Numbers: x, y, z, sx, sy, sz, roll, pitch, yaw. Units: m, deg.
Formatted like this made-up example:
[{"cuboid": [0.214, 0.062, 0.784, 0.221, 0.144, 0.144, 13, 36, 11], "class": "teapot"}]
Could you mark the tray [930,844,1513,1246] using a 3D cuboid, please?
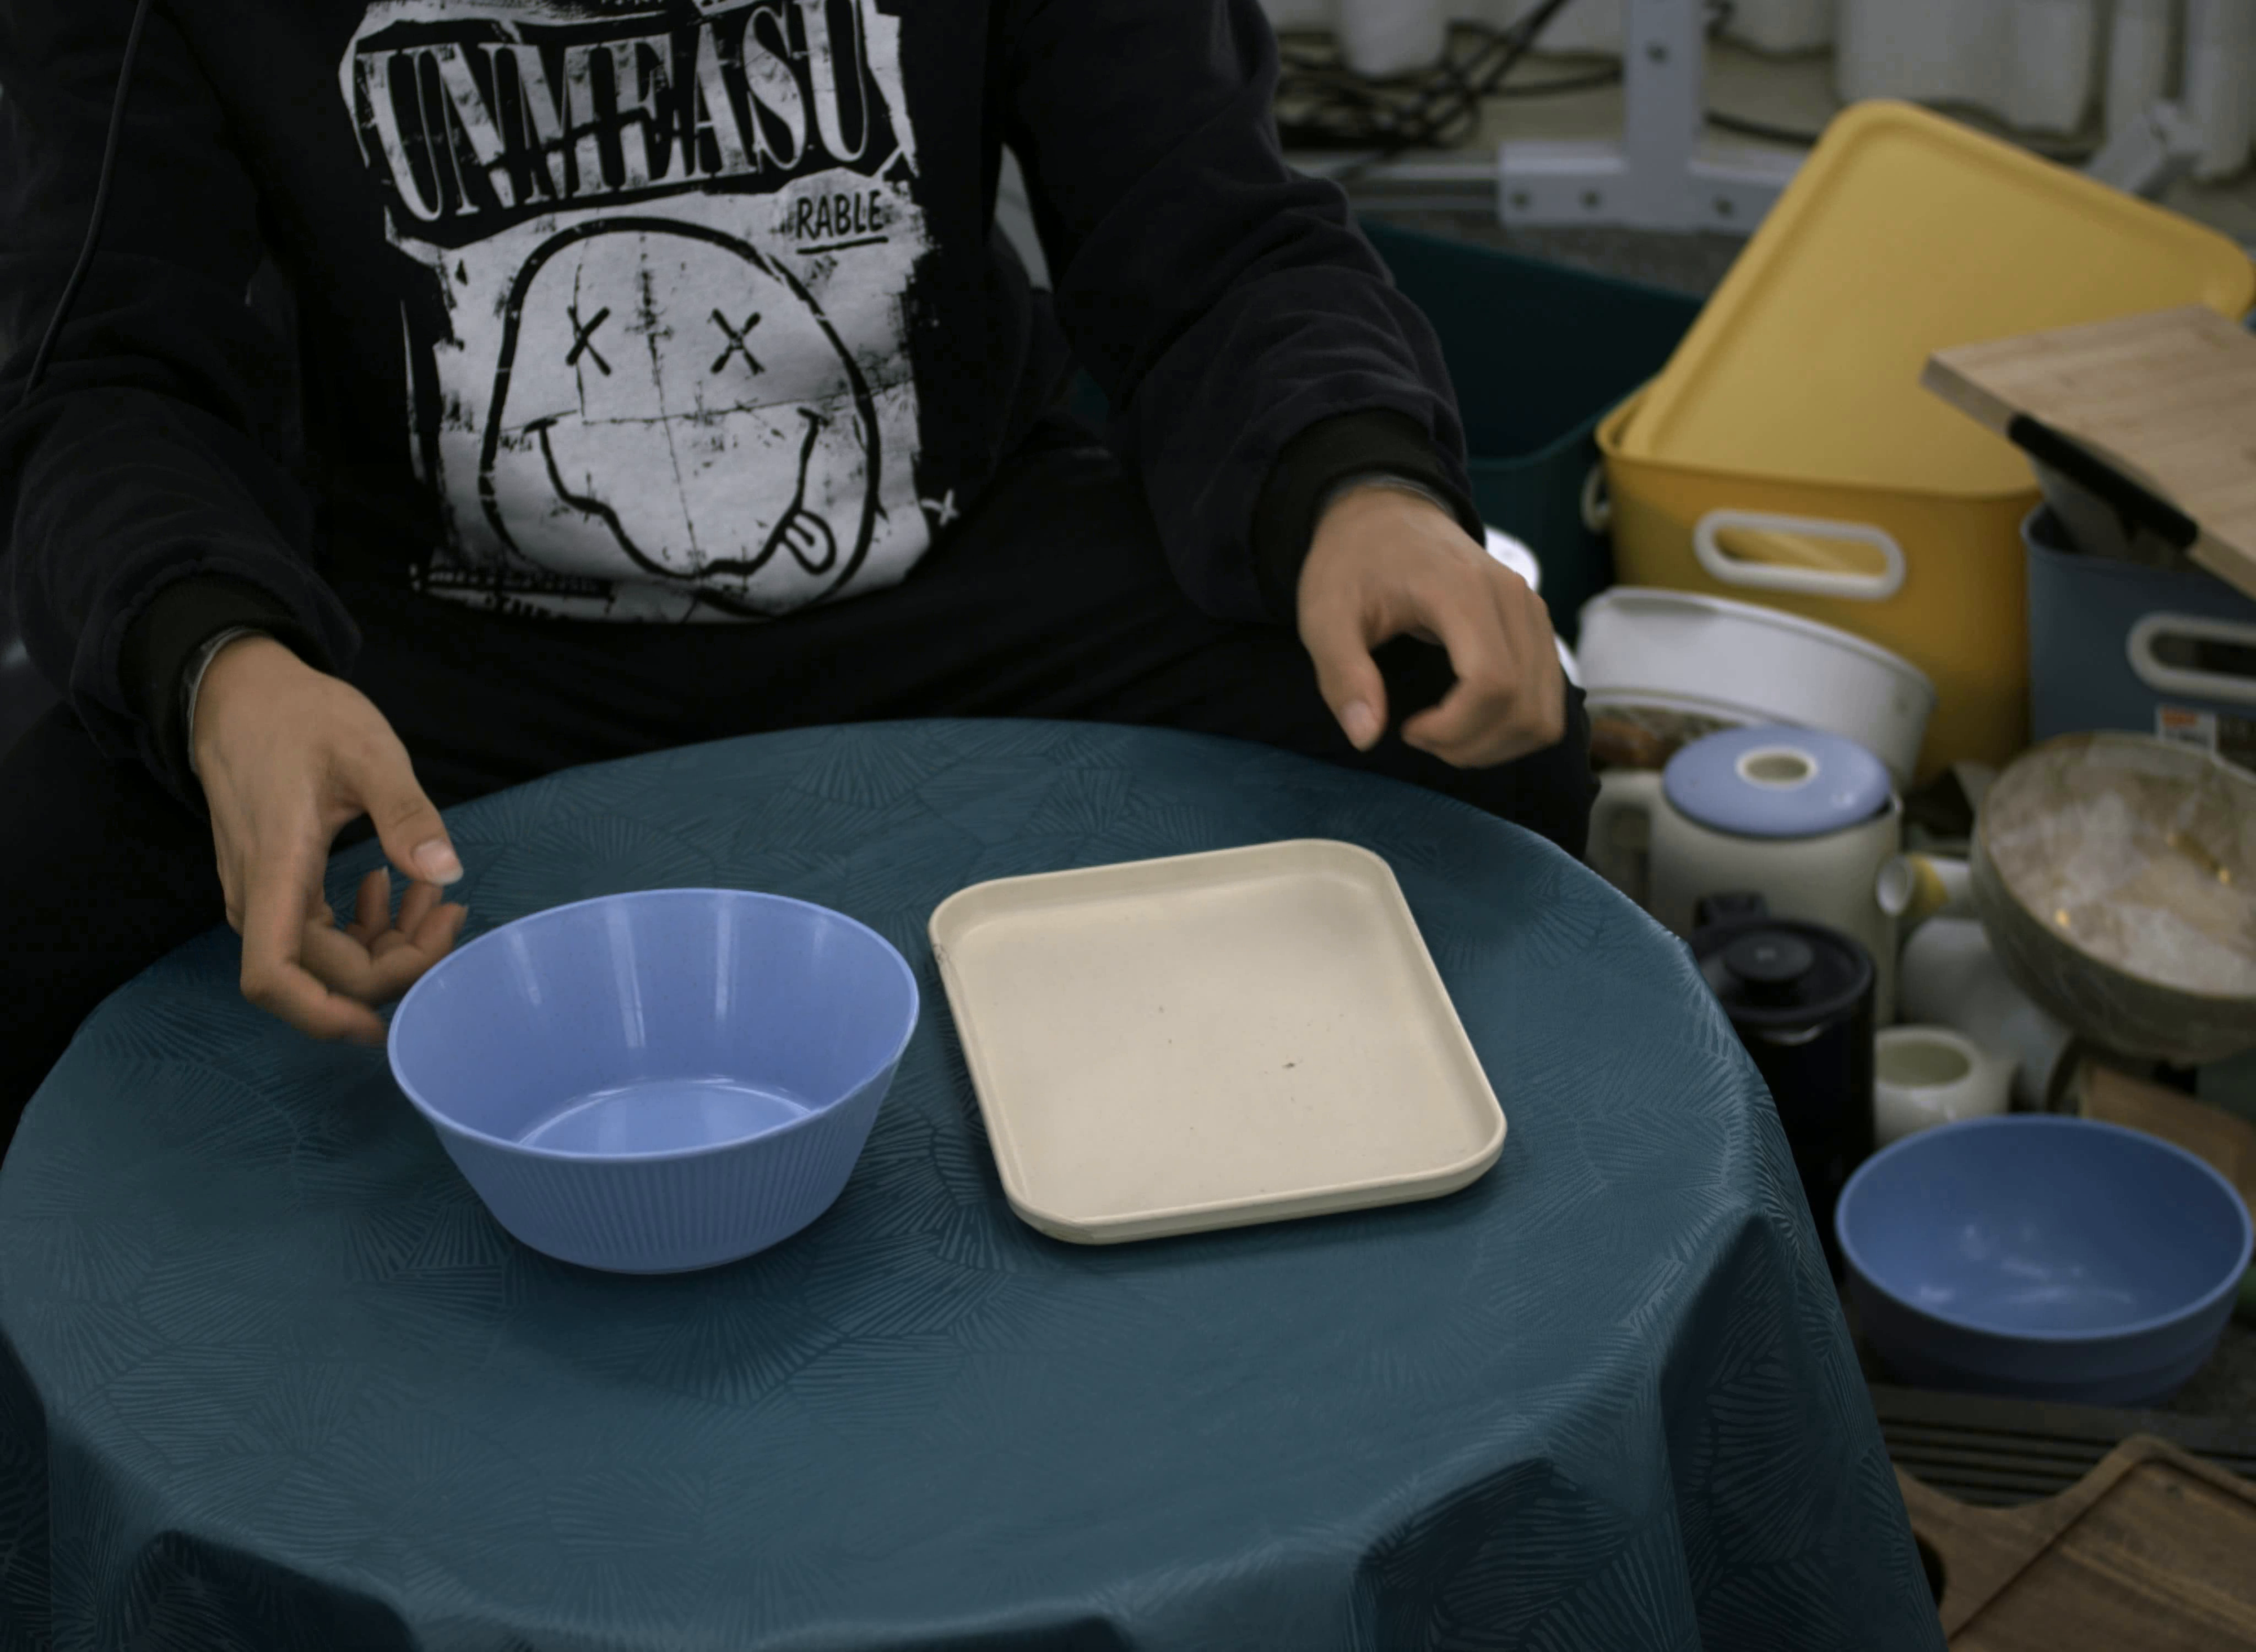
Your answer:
[{"cuboid": [0.029, 0.074, 1.932, 0.171, 0.017, 0.242, -6, 27, -8], "class": "tray"}]

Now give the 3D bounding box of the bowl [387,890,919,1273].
[{"cuboid": [-0.155, 0.091, 1.861, 0.175, 0.069, 0.179, -2, 28, 1], "class": "bowl"}]
